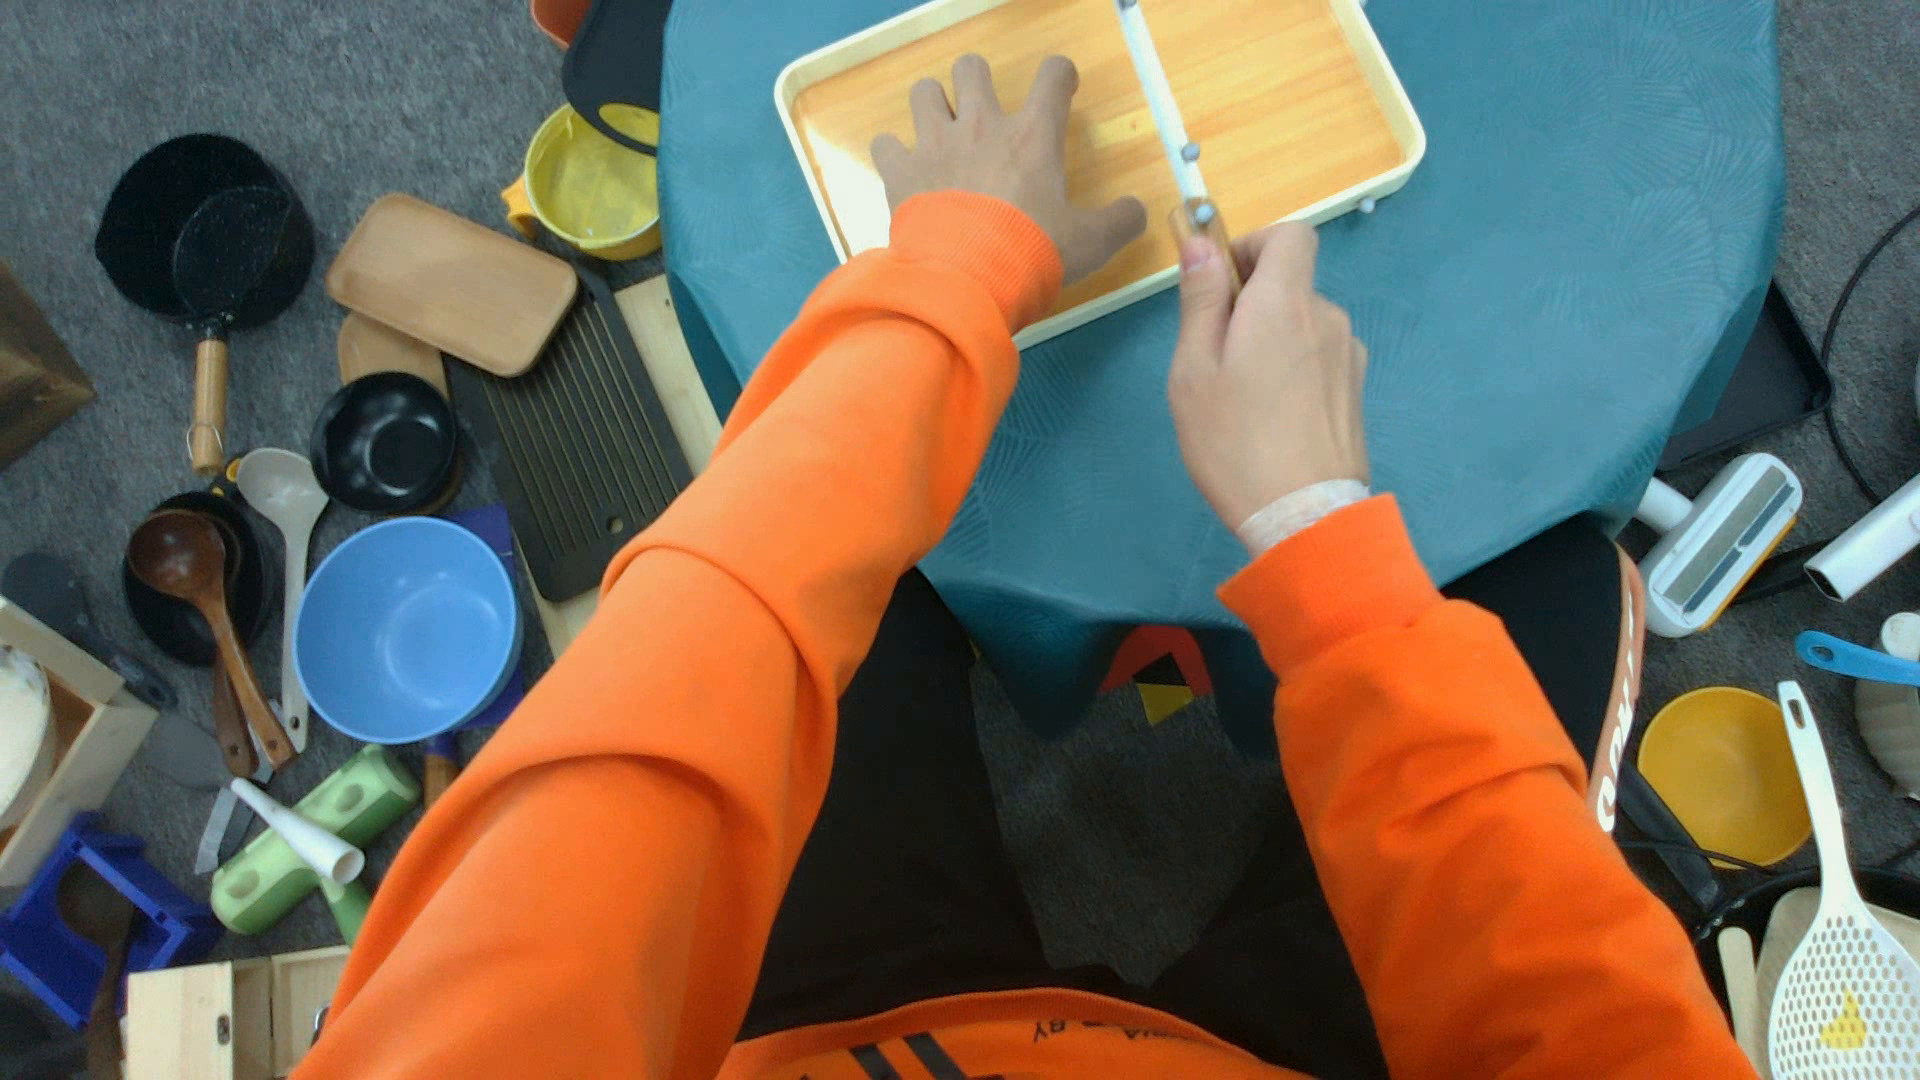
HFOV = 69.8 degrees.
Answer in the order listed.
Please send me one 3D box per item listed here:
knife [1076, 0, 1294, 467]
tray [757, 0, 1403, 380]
[{"bbox_3d":[0.092,-0.176,0.639,0.021,0.093,0.306,-23,83,21],"label":"knife"},{"bbox_3d":[0.060,-0.222,0.732,0.300,0.027,0.192,-23,77,-1],"label":"tray"}]
